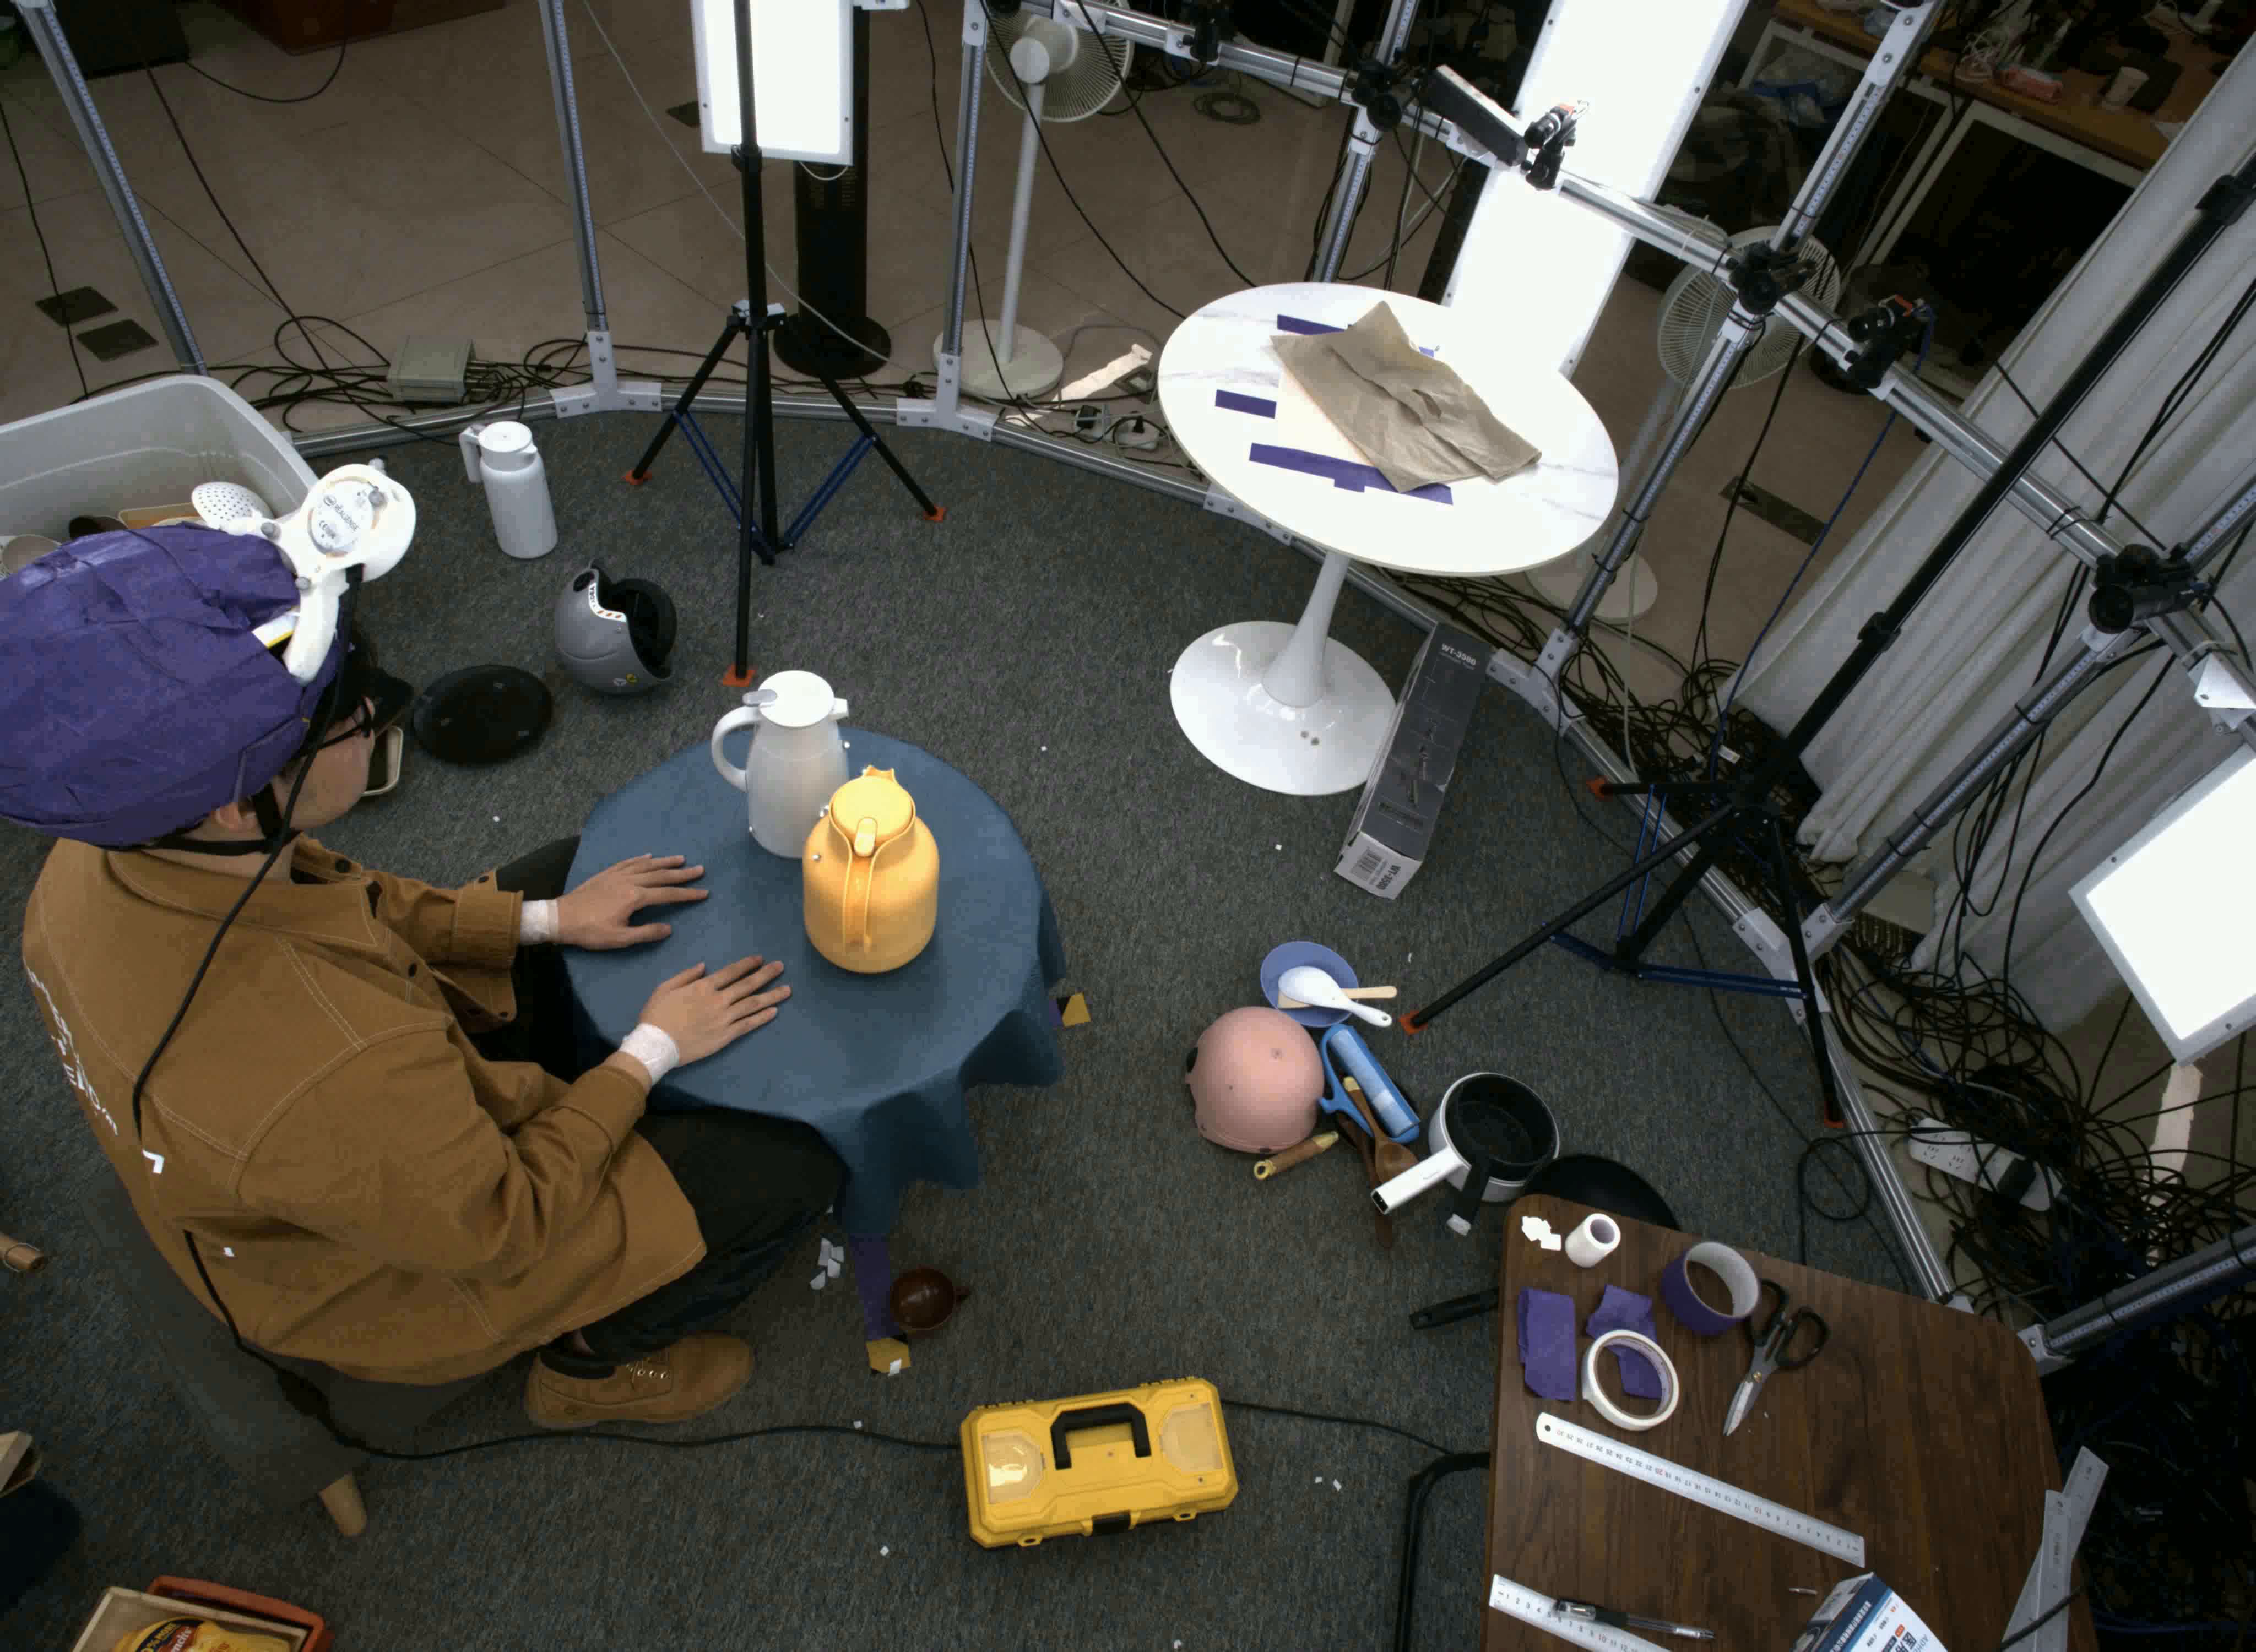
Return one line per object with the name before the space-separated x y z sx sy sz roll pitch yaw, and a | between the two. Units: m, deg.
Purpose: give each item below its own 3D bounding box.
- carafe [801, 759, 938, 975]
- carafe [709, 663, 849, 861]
carafe | -0.310 0.063 1.536 0.162 0.267 0.199 8 50 -4
carafe | -0.436 -0.084 1.620 0.168 0.254 0.129 -4 53 -14
